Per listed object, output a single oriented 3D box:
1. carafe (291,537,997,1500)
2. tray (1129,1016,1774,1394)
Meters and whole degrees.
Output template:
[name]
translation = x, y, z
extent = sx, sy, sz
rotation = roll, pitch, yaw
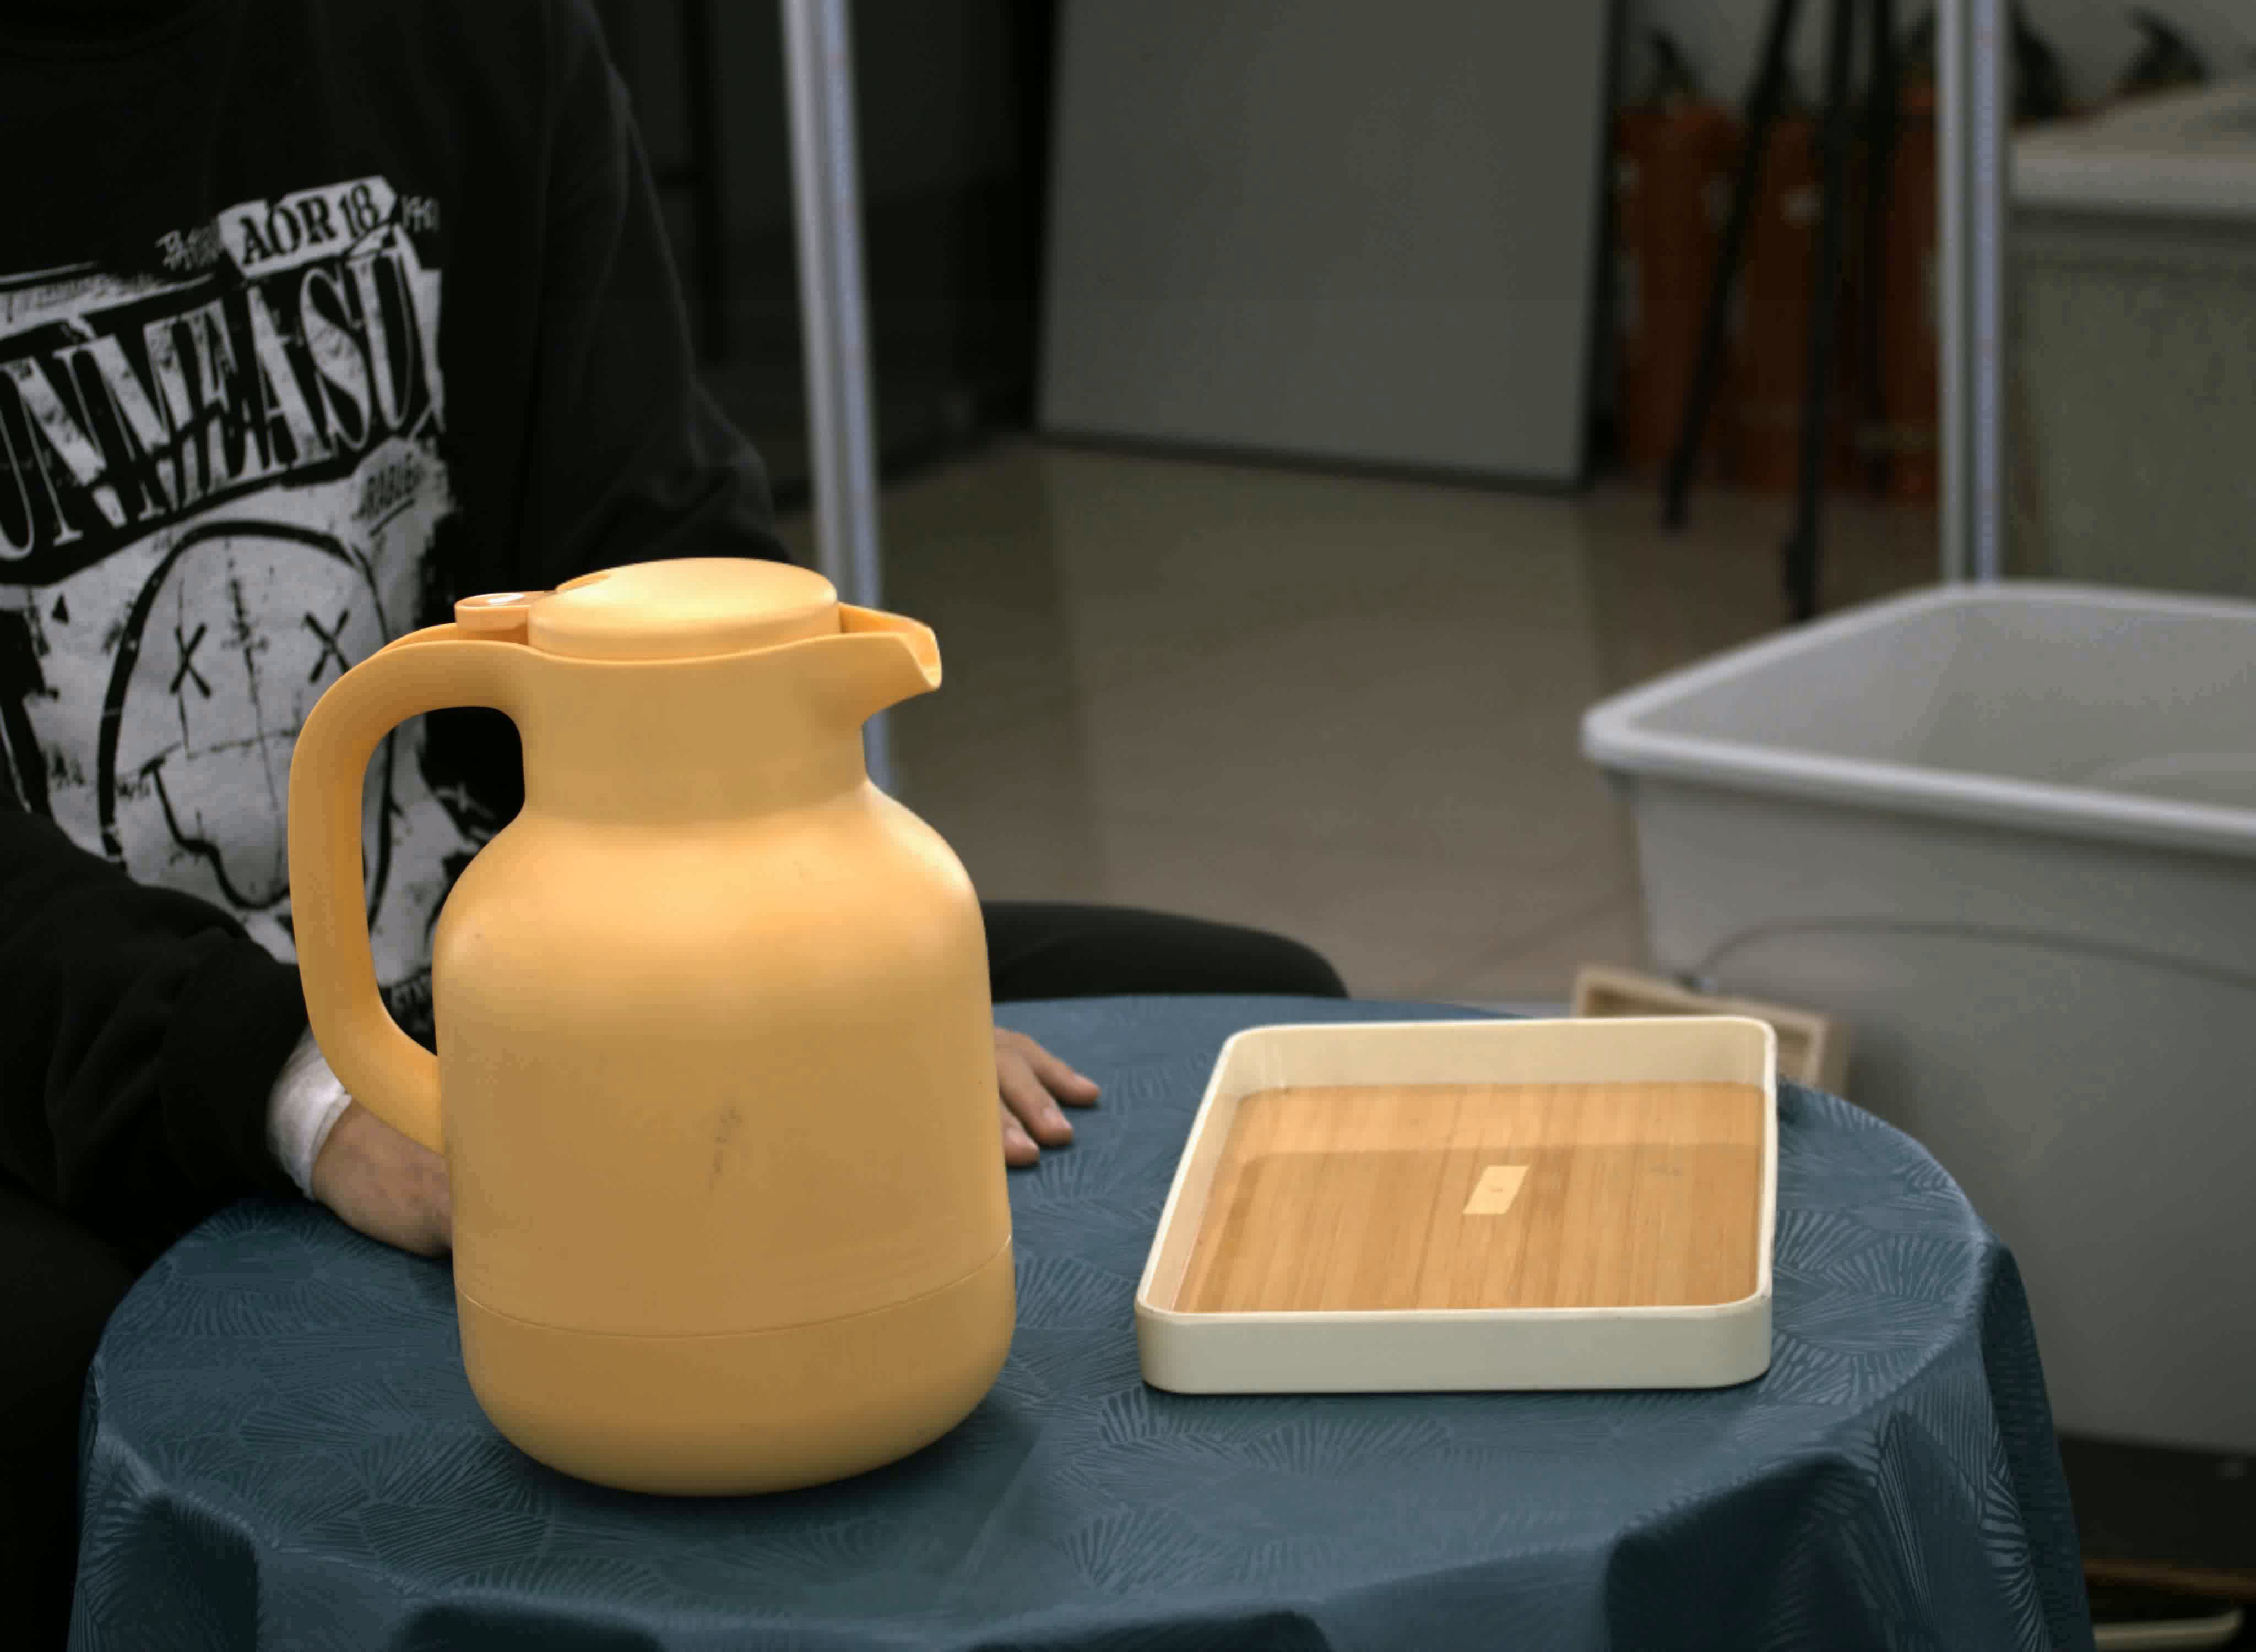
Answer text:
[carafe]
translation = -0.139, 0.050, 1.555
extent = 0.201, 0.263, 0.162
rotation = 2, 12, 15
[tray]
translation = 0.110, 0.116, 1.705
extent = 0.190, 0.028, 0.299
rotation = -2, 14, 9
